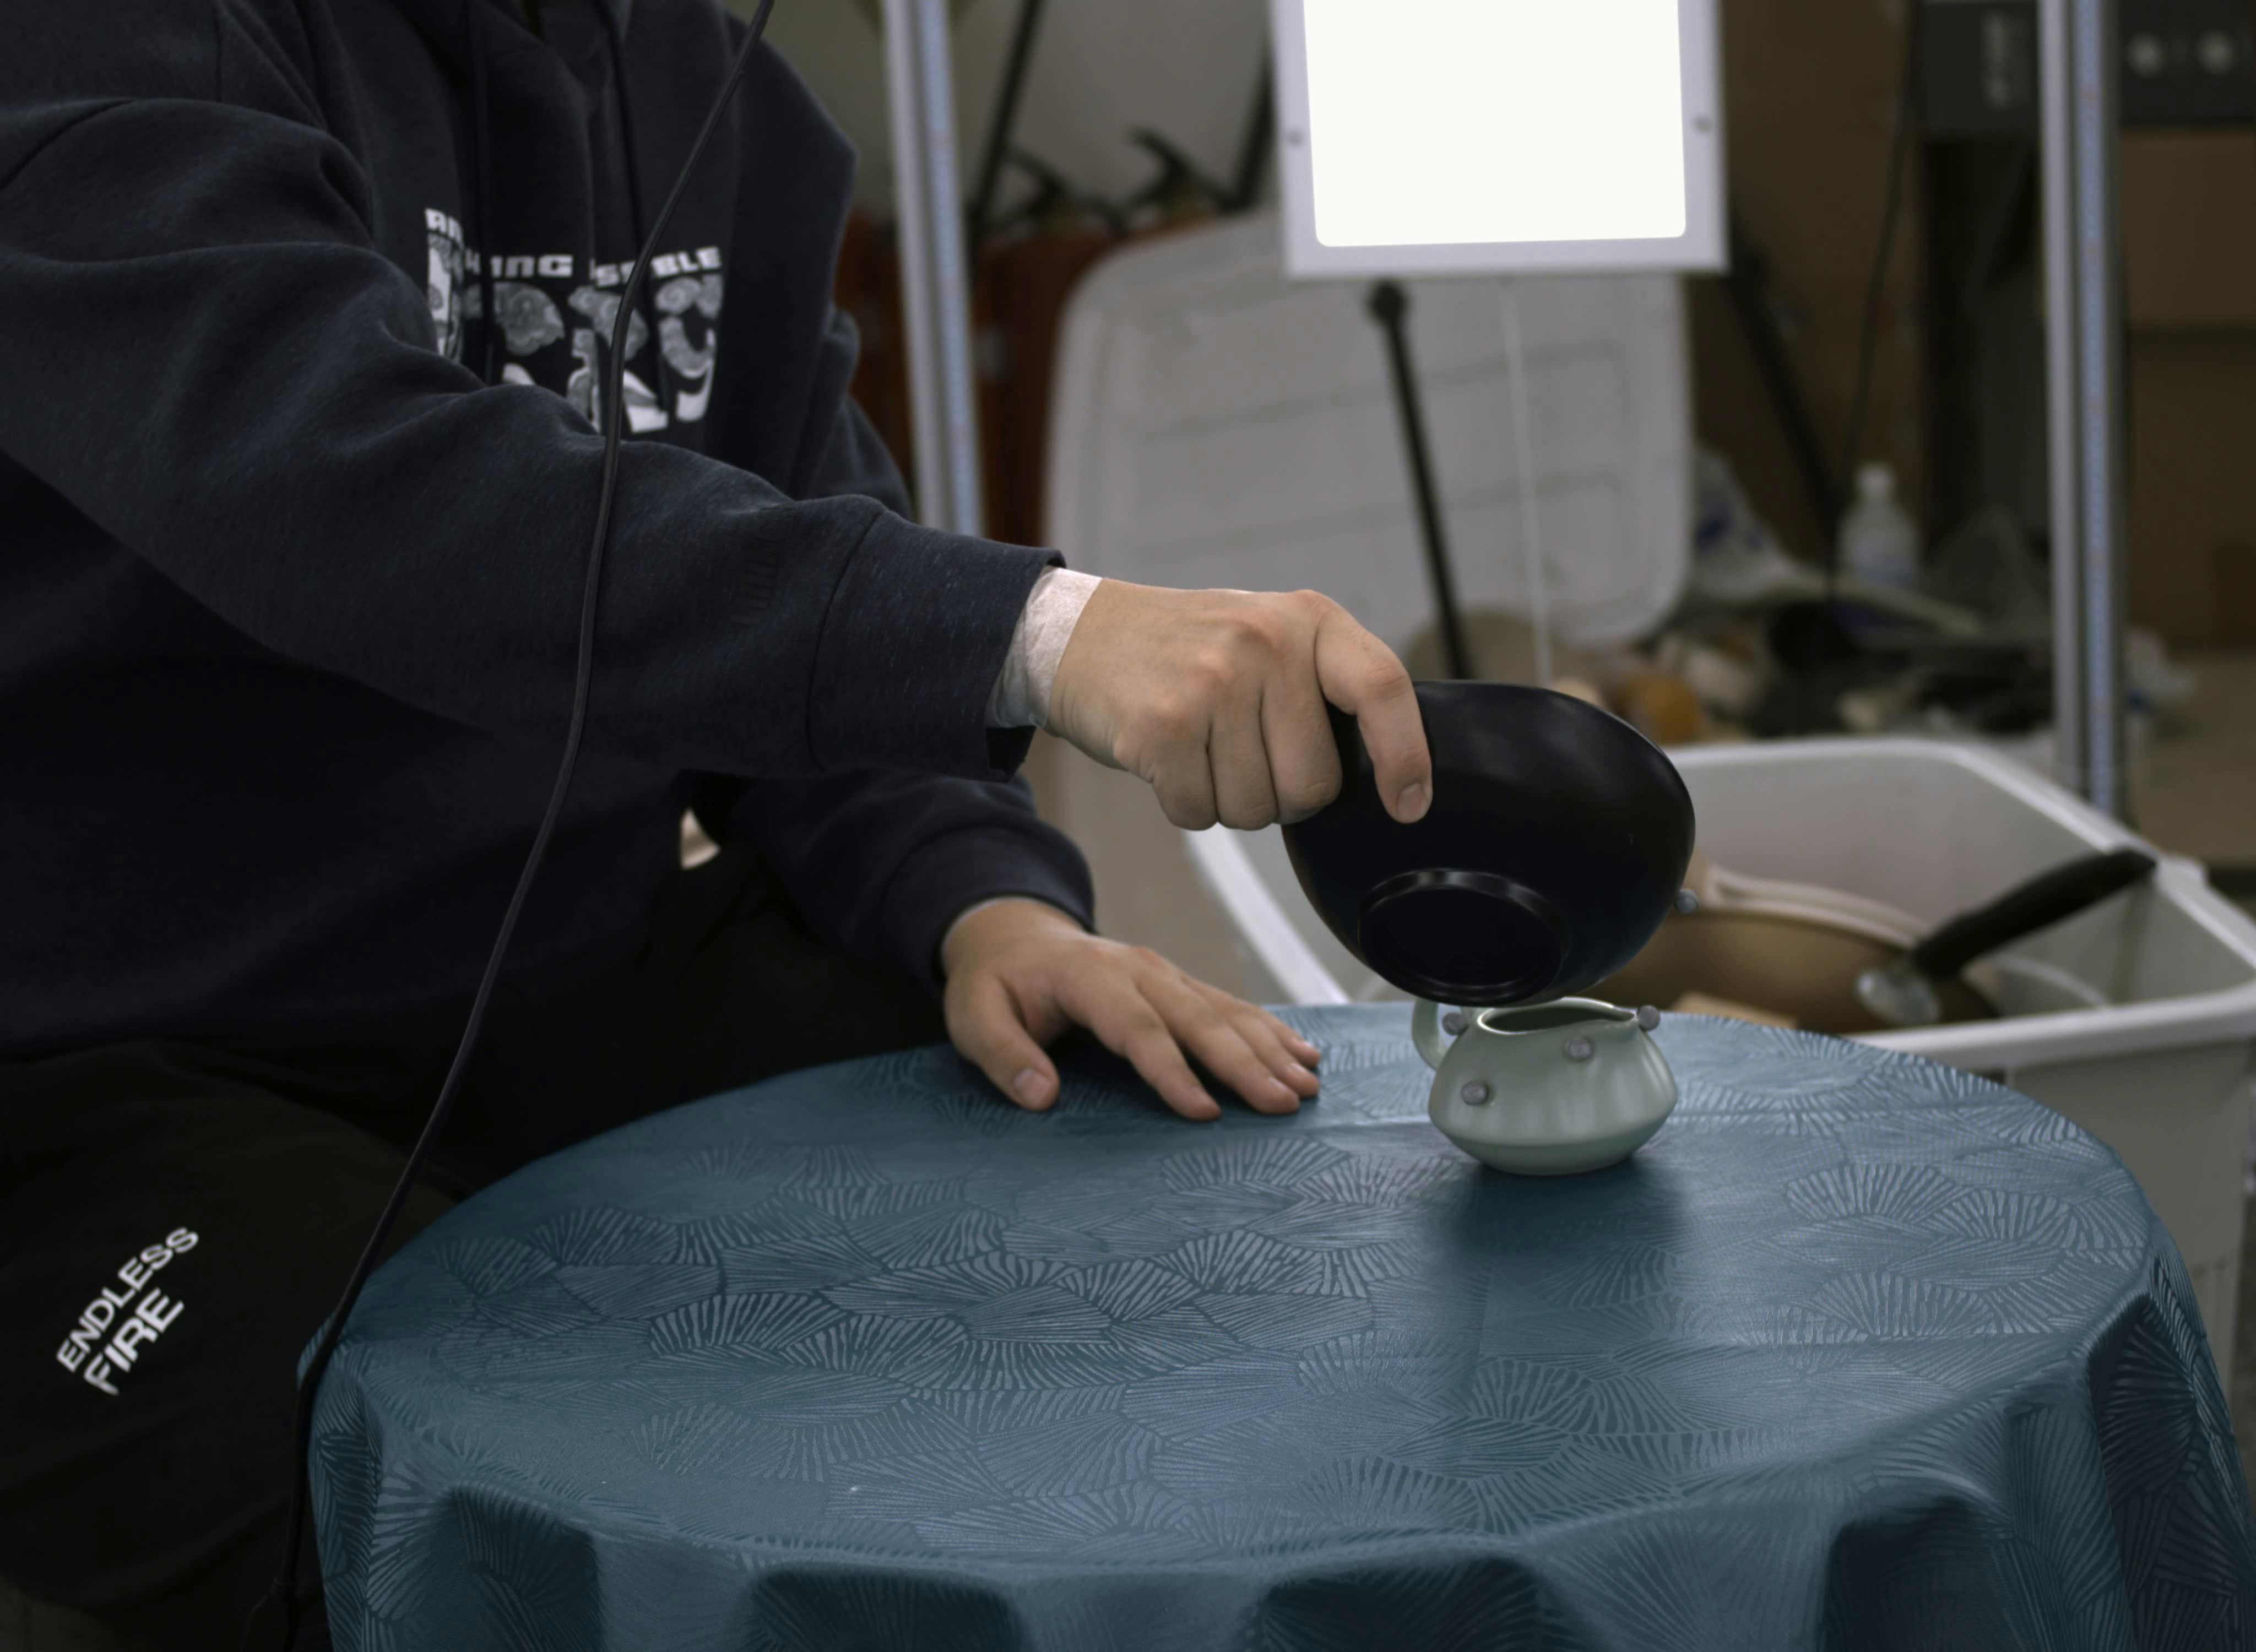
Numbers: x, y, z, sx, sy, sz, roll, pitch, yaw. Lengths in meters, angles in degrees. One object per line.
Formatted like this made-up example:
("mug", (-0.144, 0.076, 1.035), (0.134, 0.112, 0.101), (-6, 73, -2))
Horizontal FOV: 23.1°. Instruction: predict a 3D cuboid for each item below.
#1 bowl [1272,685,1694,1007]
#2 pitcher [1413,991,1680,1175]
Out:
("bowl", (0.114, 0.015, 1.806), (0.139, 0.169, 0.066), (-5, 54, 22))
("pitcher", (0.139, 0.085, 1.901), (0.084, 0.060, 0.110), (-15, 16, -39))
